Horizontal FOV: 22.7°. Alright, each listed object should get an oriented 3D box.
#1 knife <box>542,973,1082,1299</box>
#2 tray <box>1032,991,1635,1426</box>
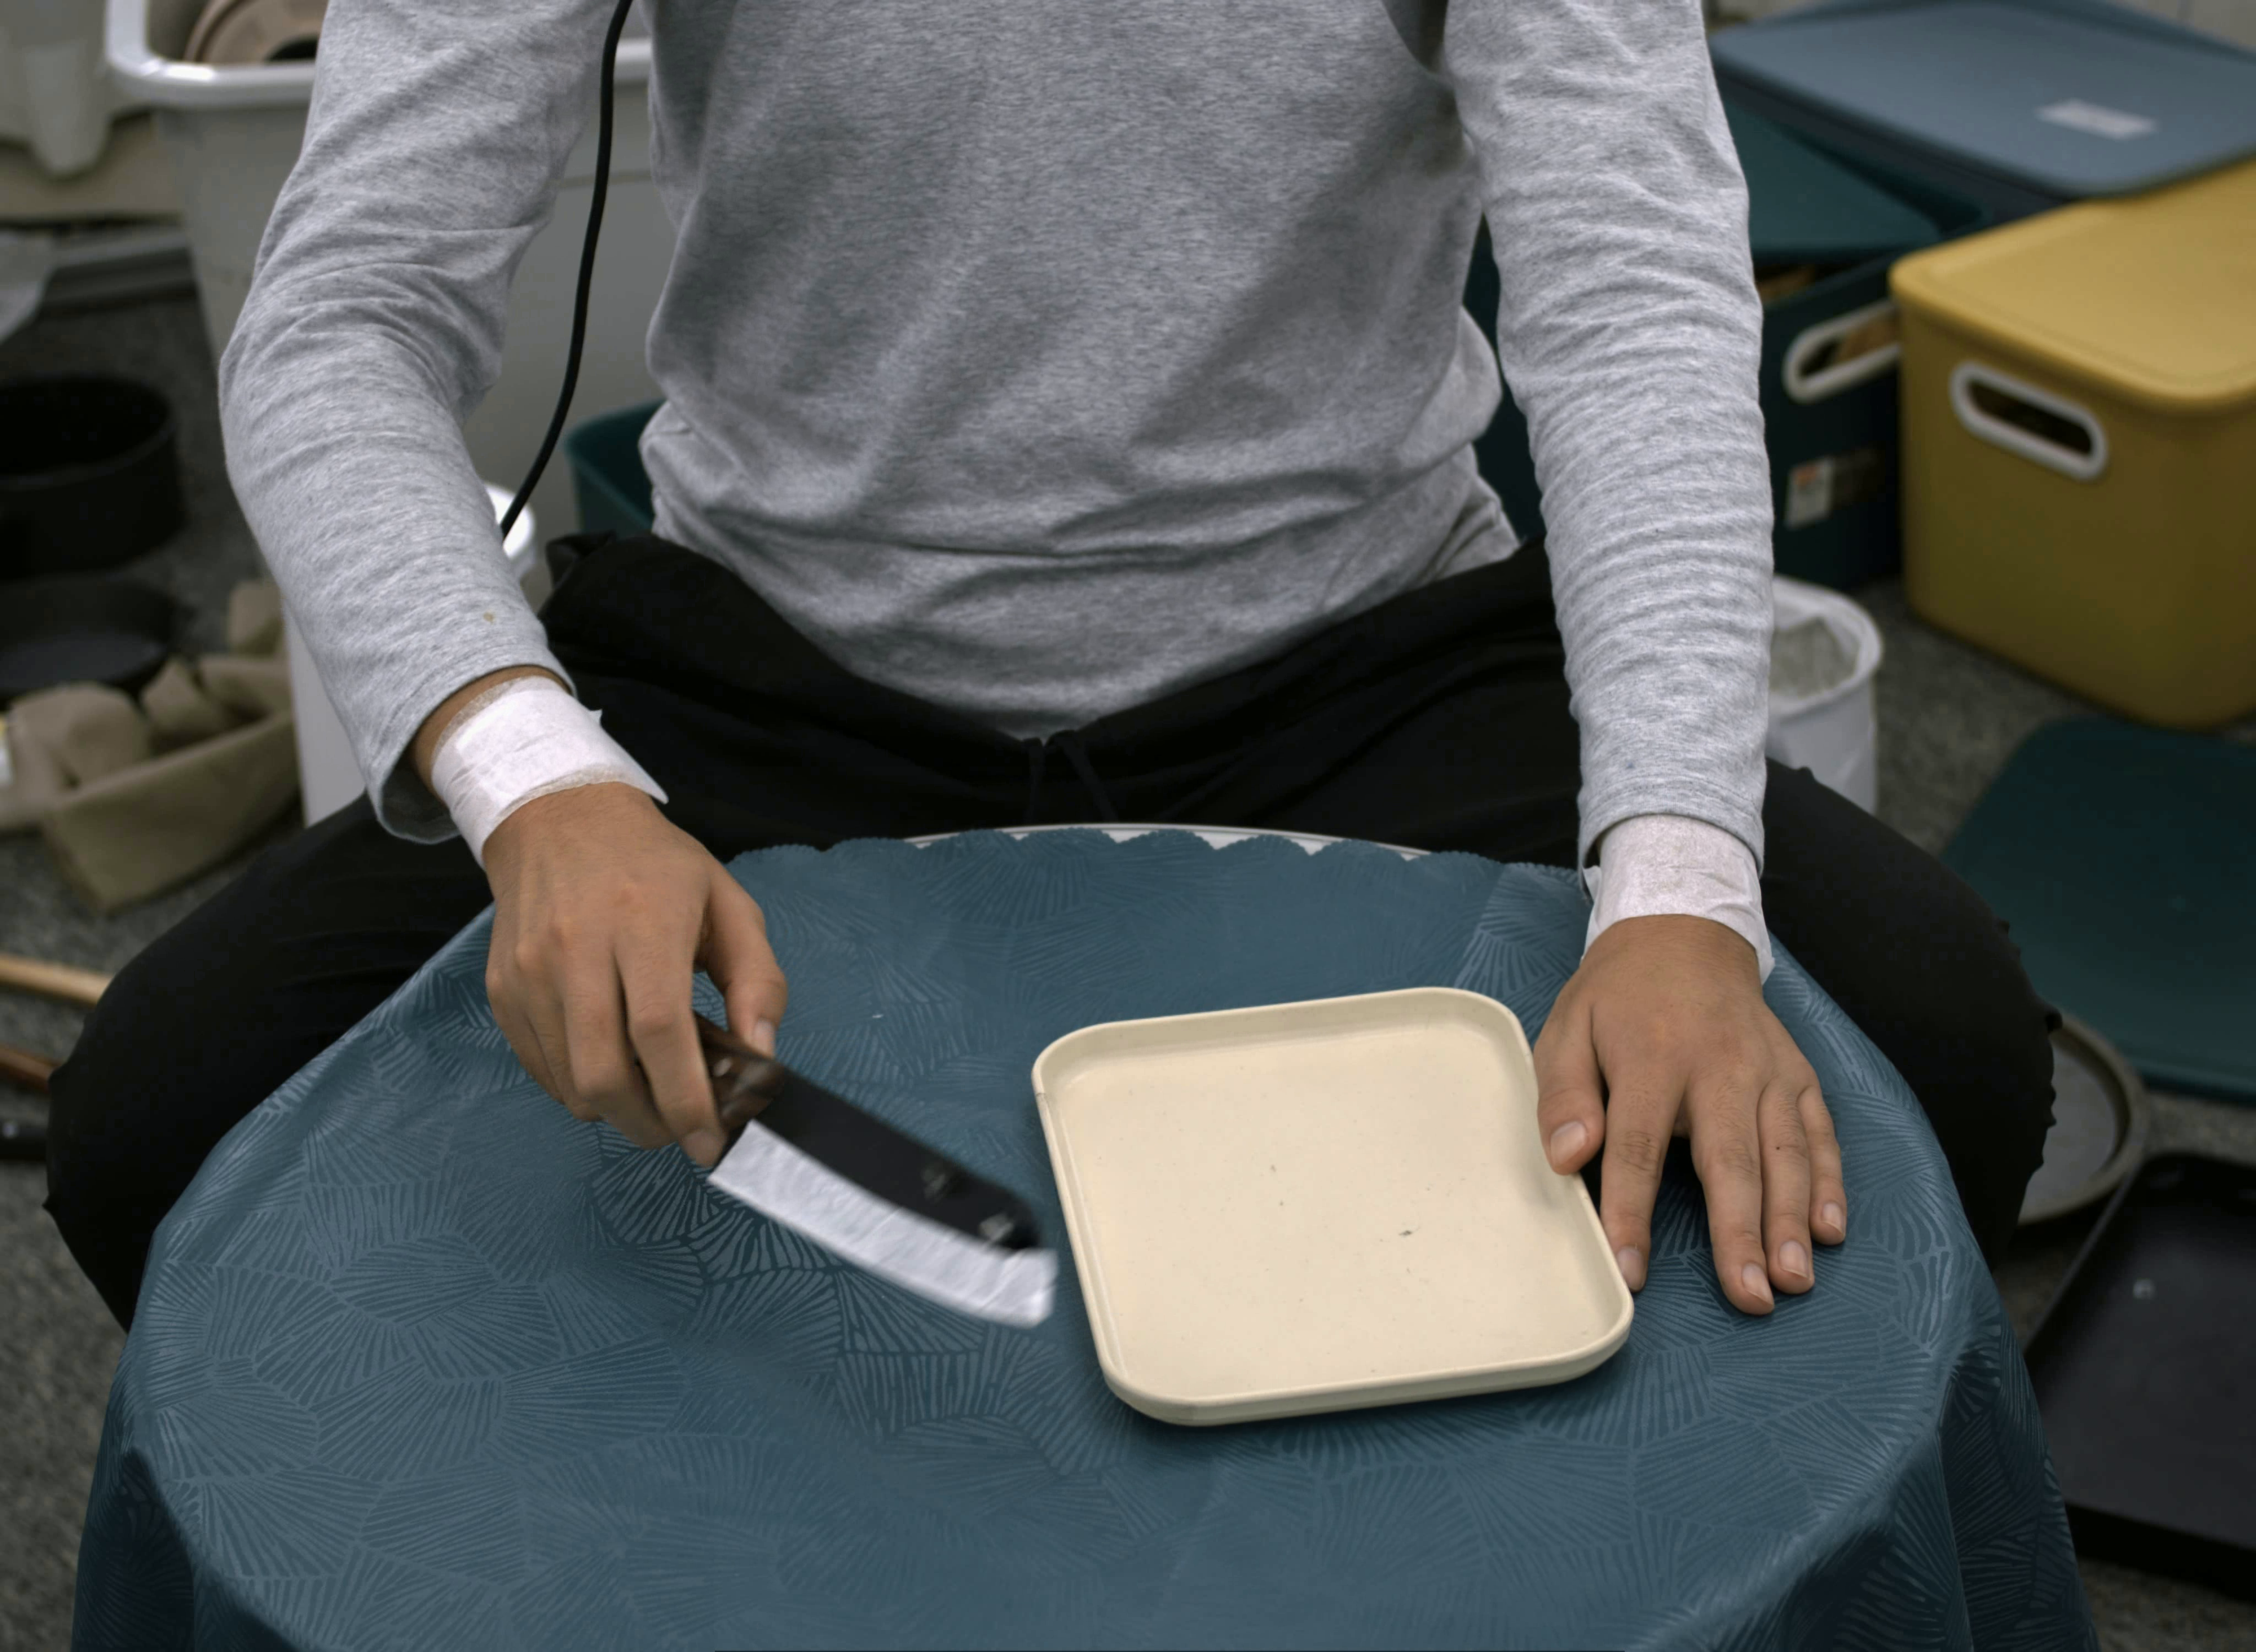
[{"bbox_3d":[-0.102,0.096,1.763,0.289,0.020,0.050,24,74,48],"label":"knife"},{"bbox_3d":[0.063,0.123,1.834,0.171,0.017,0.243,-5,27,-6],"label":"tray"}]
